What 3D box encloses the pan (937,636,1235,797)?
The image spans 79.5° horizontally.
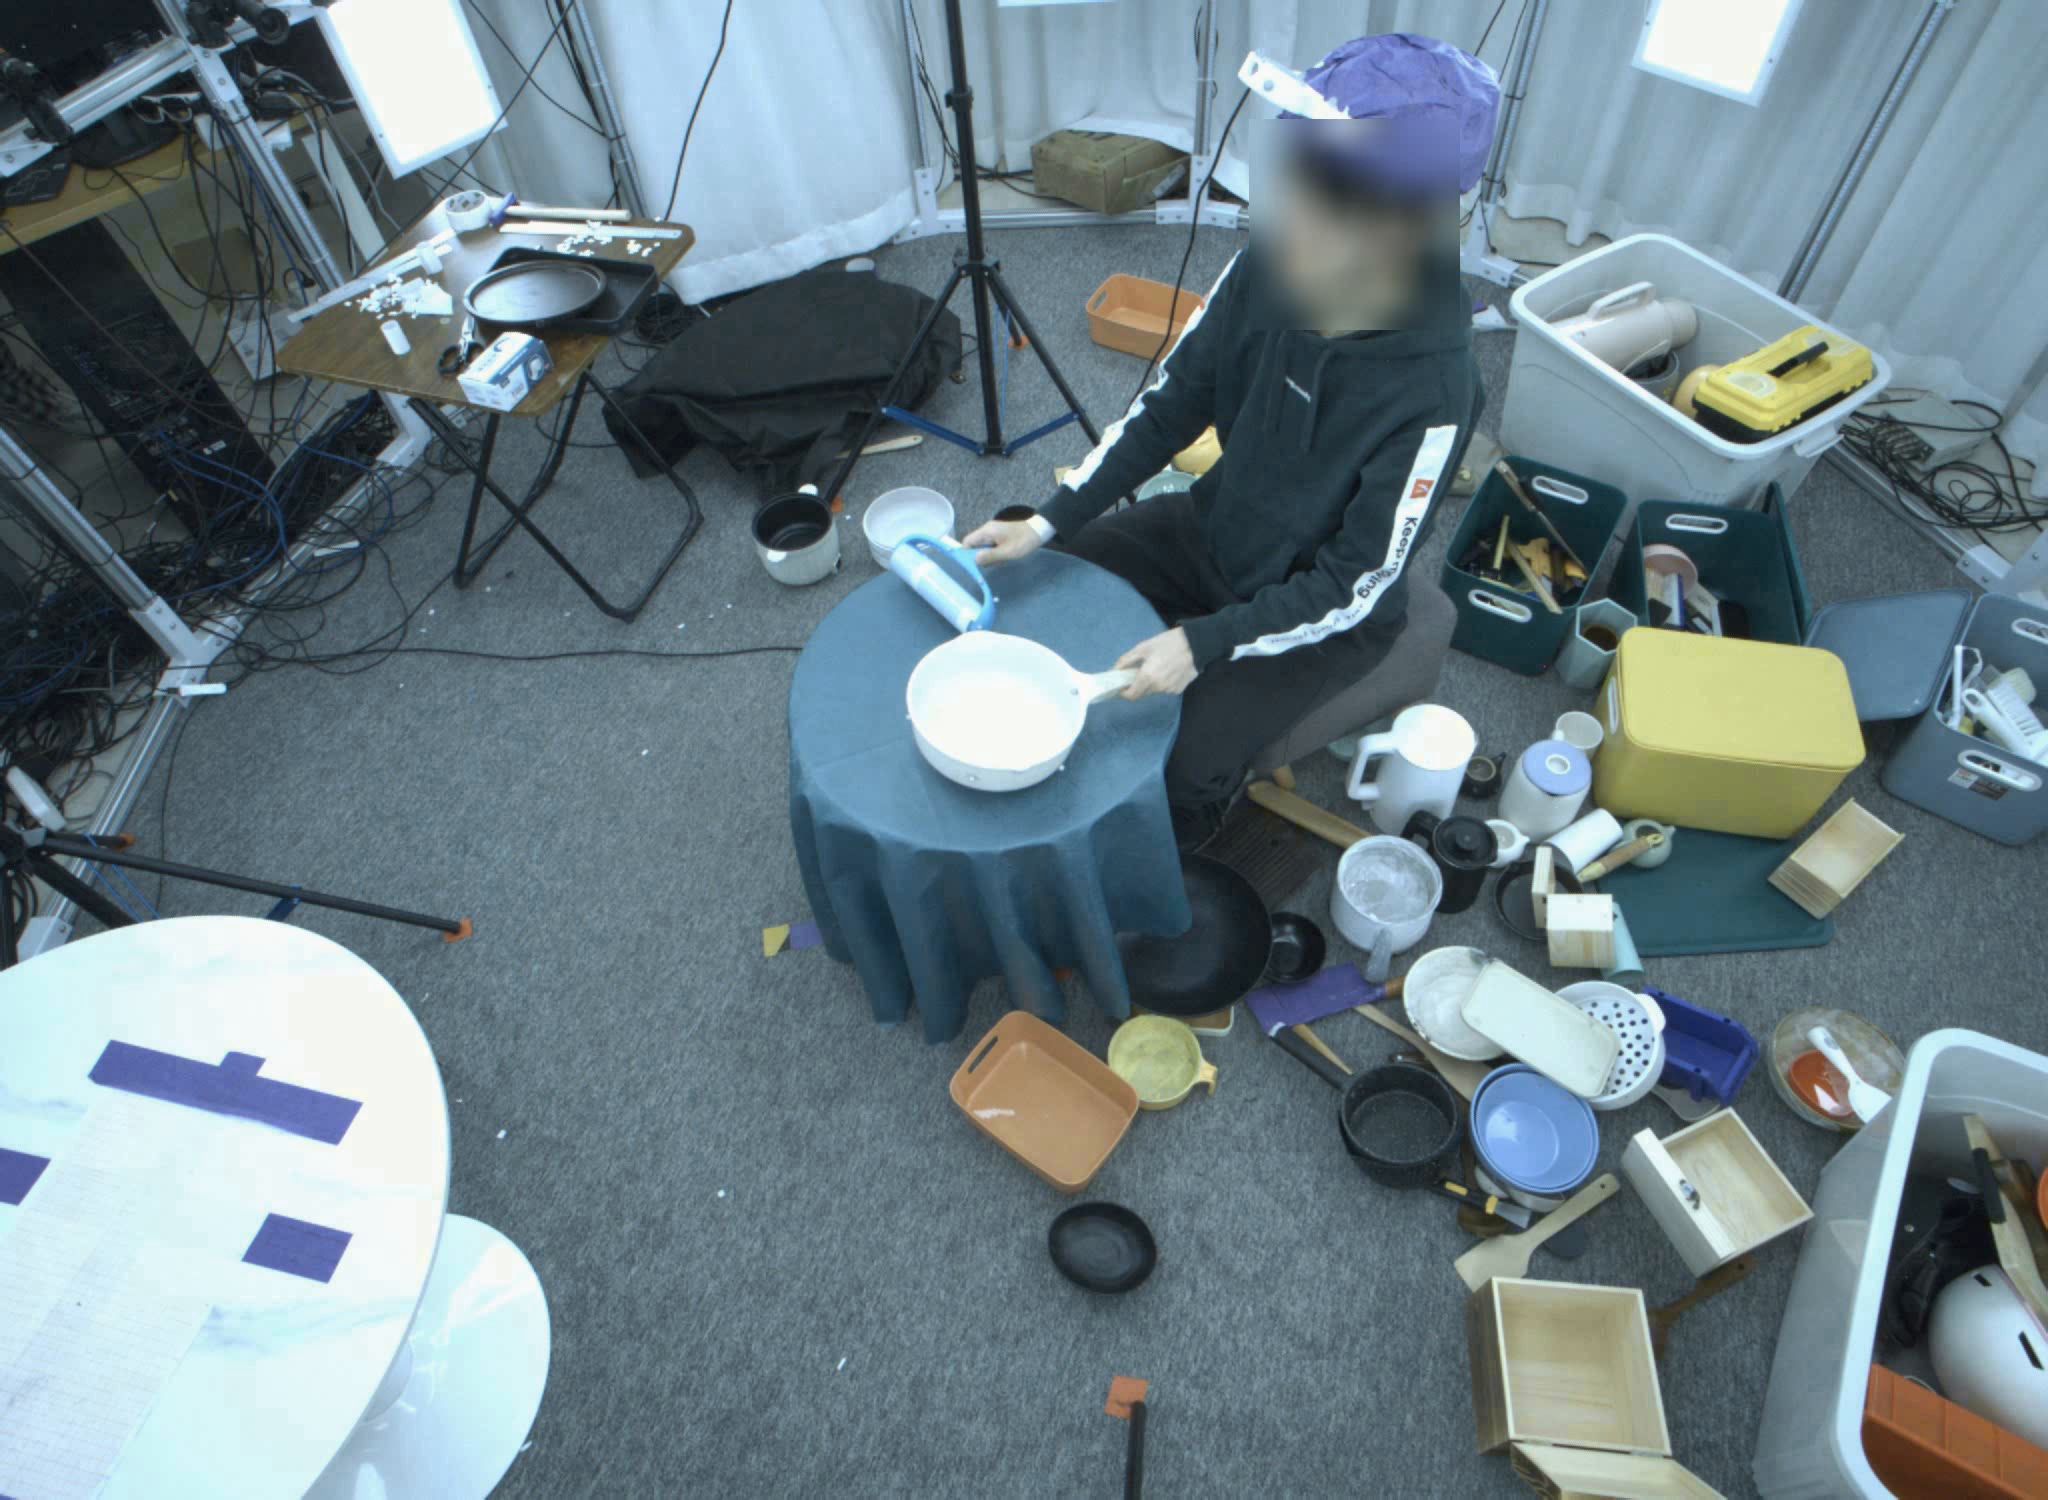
[{"bbox_3d":[0.091,-0.057,1.753,0.439,0.102,0.259,-8,53,-16],"label":"pan"}]

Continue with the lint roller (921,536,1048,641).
[{"bbox_3d":[-0.039,-0.281,1.919,0.181,0.069,0.225,-38,62,-19],"label":"lint roller"}]
